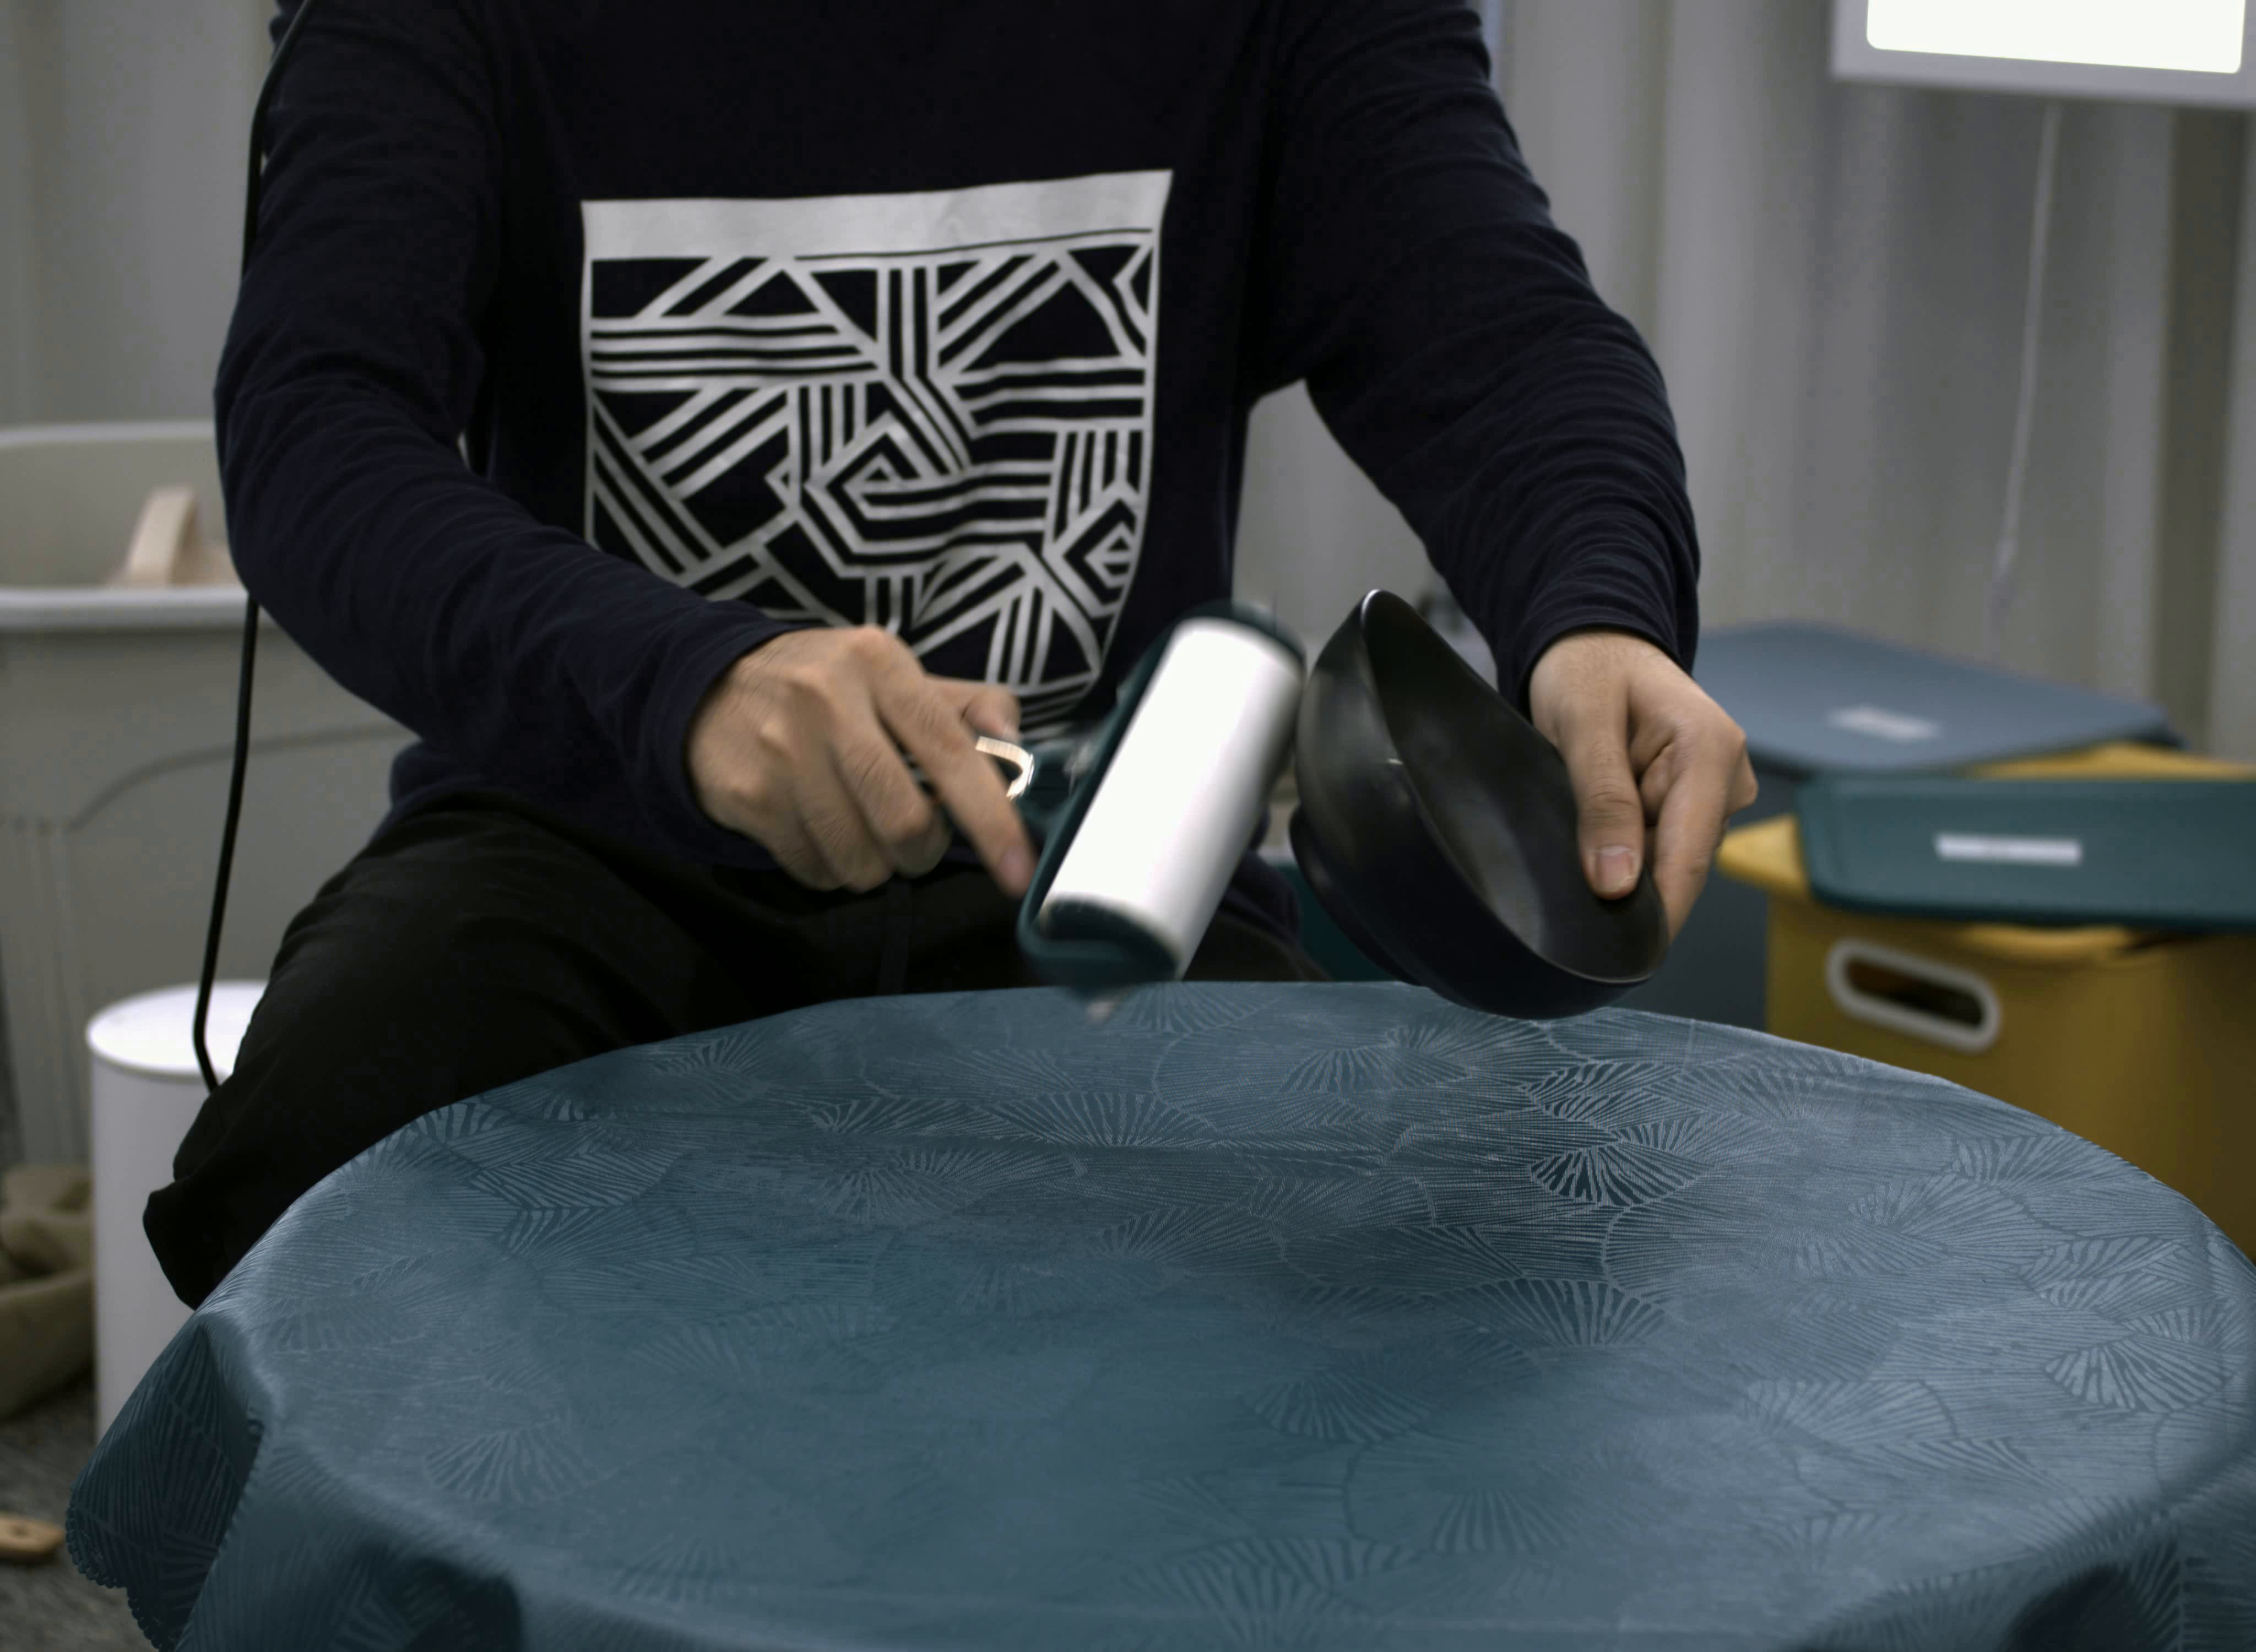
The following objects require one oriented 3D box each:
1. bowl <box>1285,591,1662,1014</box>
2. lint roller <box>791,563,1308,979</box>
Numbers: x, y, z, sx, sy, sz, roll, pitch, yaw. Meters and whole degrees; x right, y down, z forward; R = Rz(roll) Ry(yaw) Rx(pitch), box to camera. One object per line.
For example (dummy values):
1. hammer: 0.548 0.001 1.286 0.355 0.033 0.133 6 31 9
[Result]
1. bowl: 0.090 0.002 1.568 0.066 0.138 0.169 -38 20 20
2. lint roller: -0.039 -0.020 1.599 0.178 0.049 0.134 5 59 33
